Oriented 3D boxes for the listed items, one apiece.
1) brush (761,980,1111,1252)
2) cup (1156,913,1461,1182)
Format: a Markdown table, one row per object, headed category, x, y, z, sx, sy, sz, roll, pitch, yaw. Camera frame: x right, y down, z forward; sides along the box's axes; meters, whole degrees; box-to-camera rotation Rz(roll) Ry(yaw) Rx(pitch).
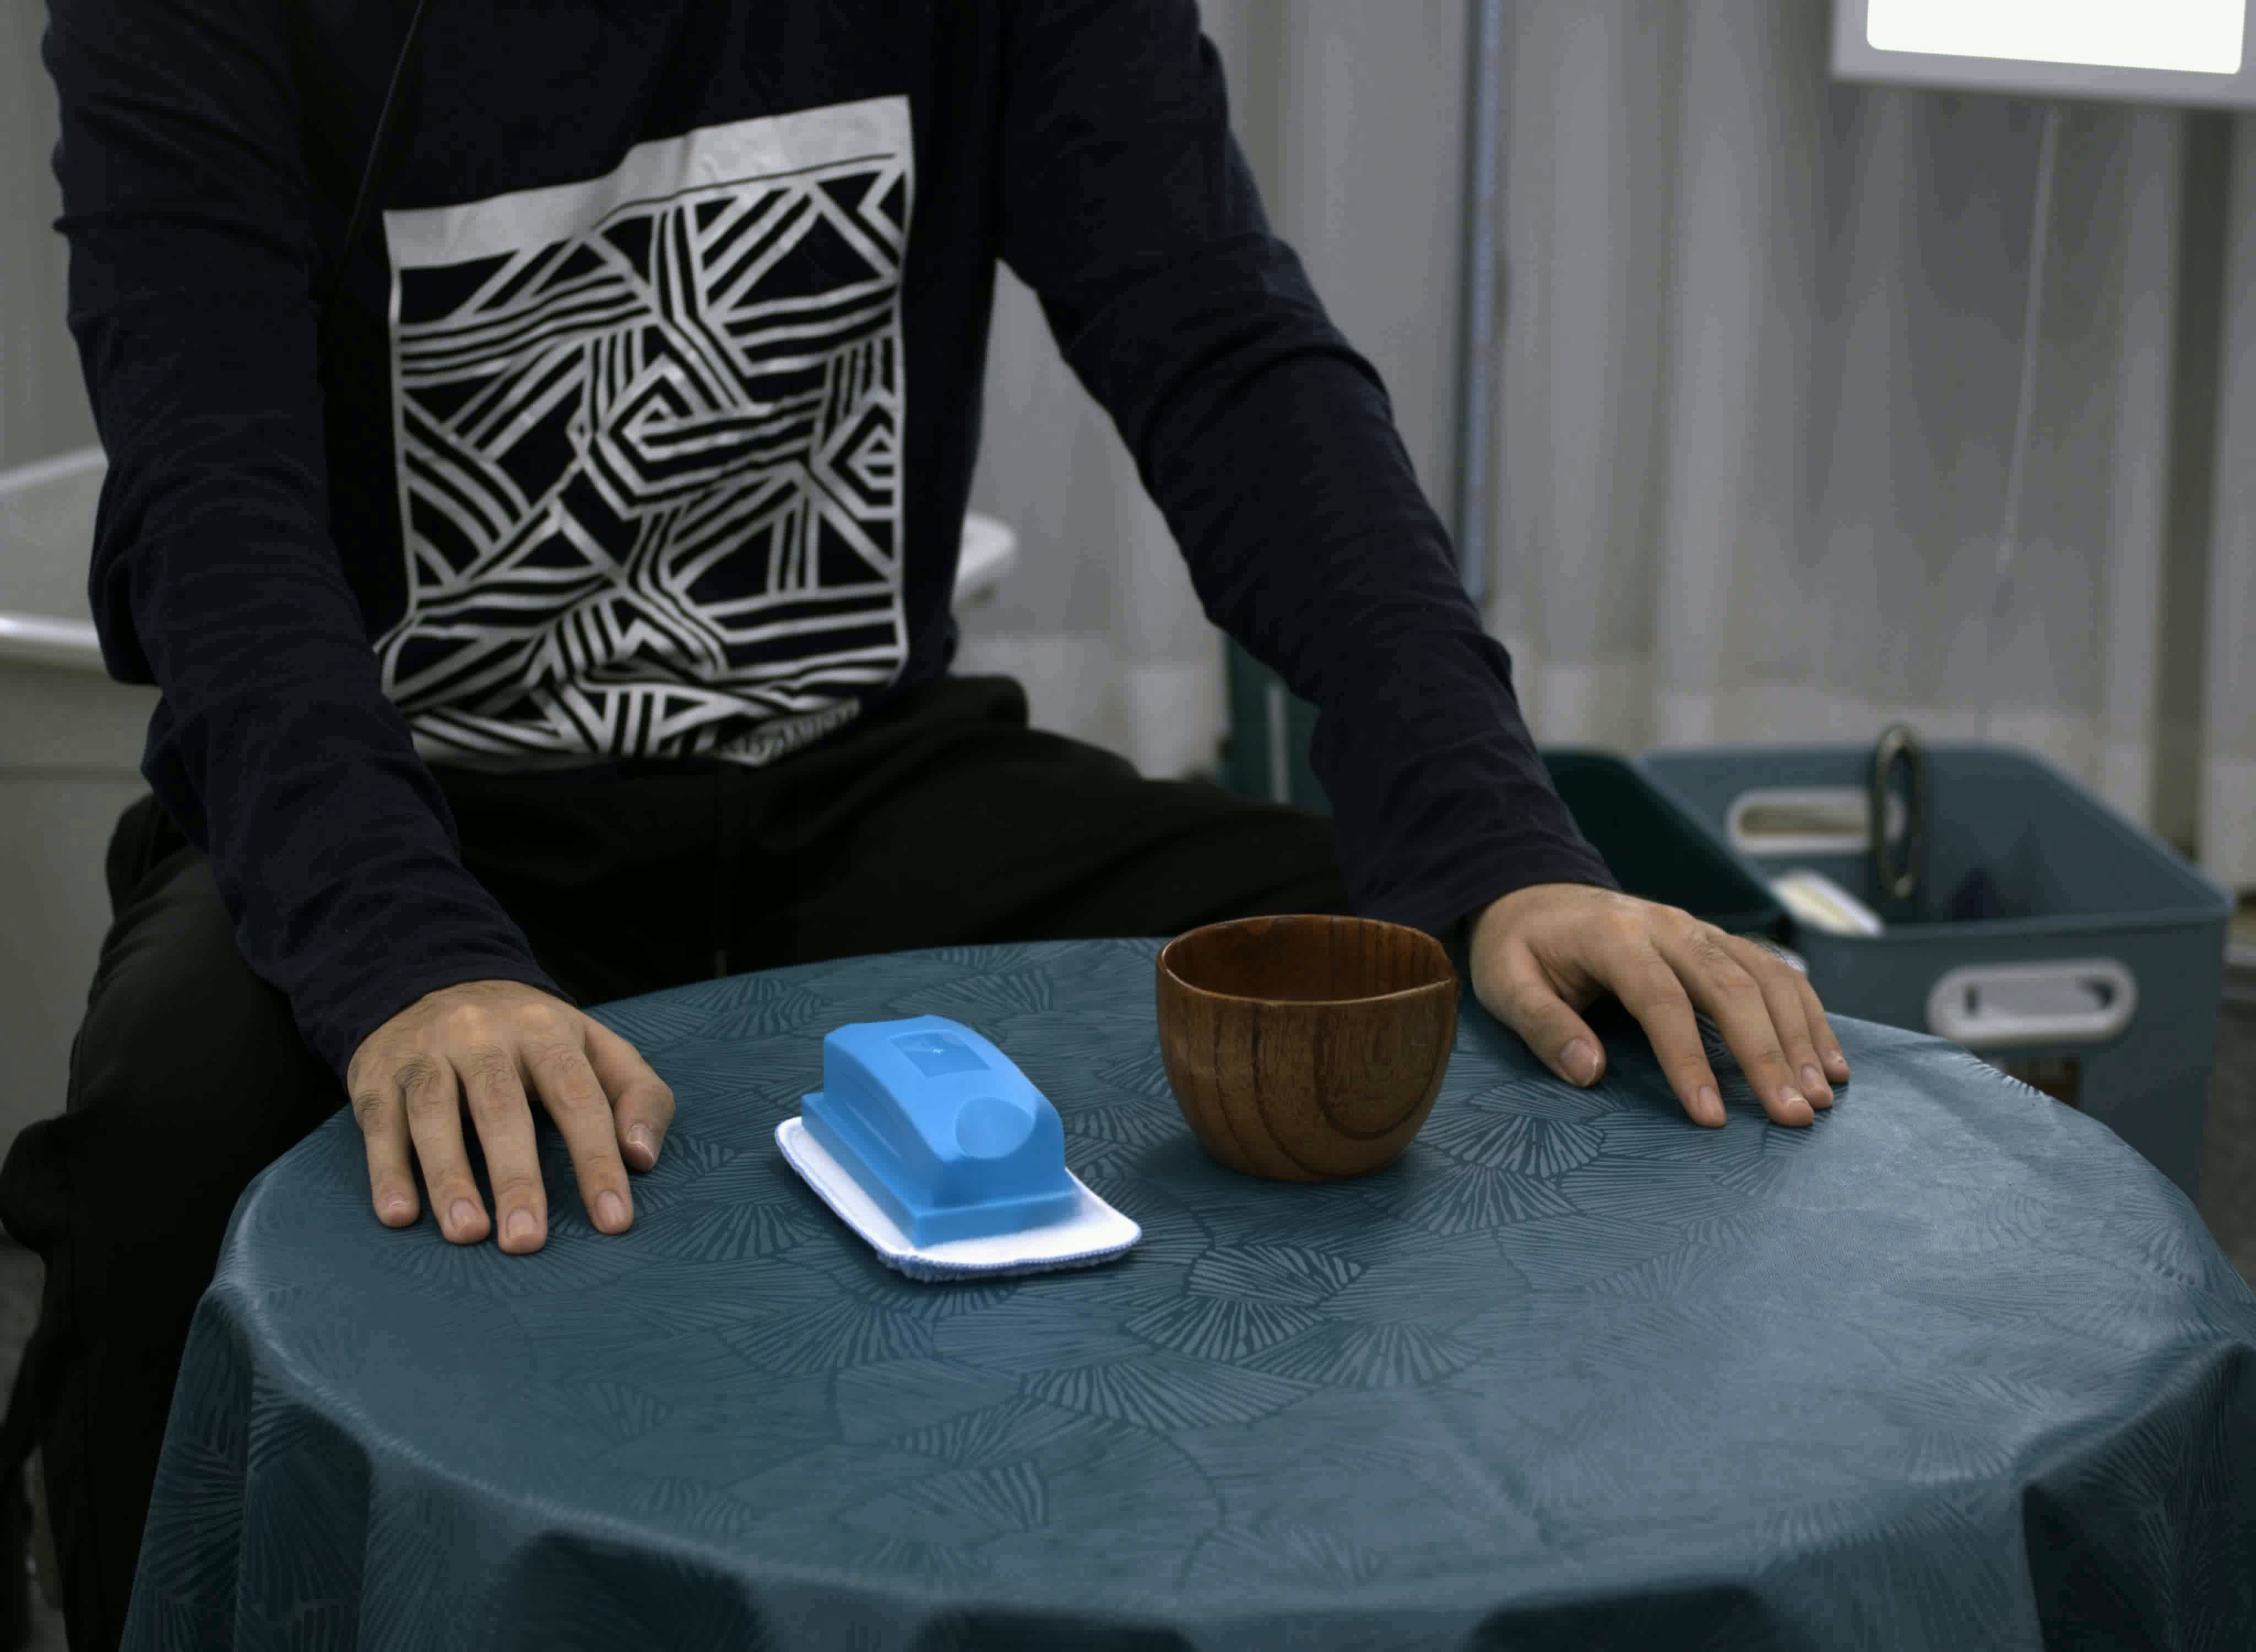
| category | x | y | z | sx | sy | sz | roll | pitch | yaw |
| --- | --- | --- | --- | --- | --- | --- | --- | --- | --- |
| brush | -0.058 | 0.086 | 1.606 | 0.084 | 0.056 | 0.142 | -2 | 18 | -19 |
| cup | 0.054 | 0.068 | 1.665 | 0.096 | 0.068 | 0.118 | -9 | 16 | -20 |
